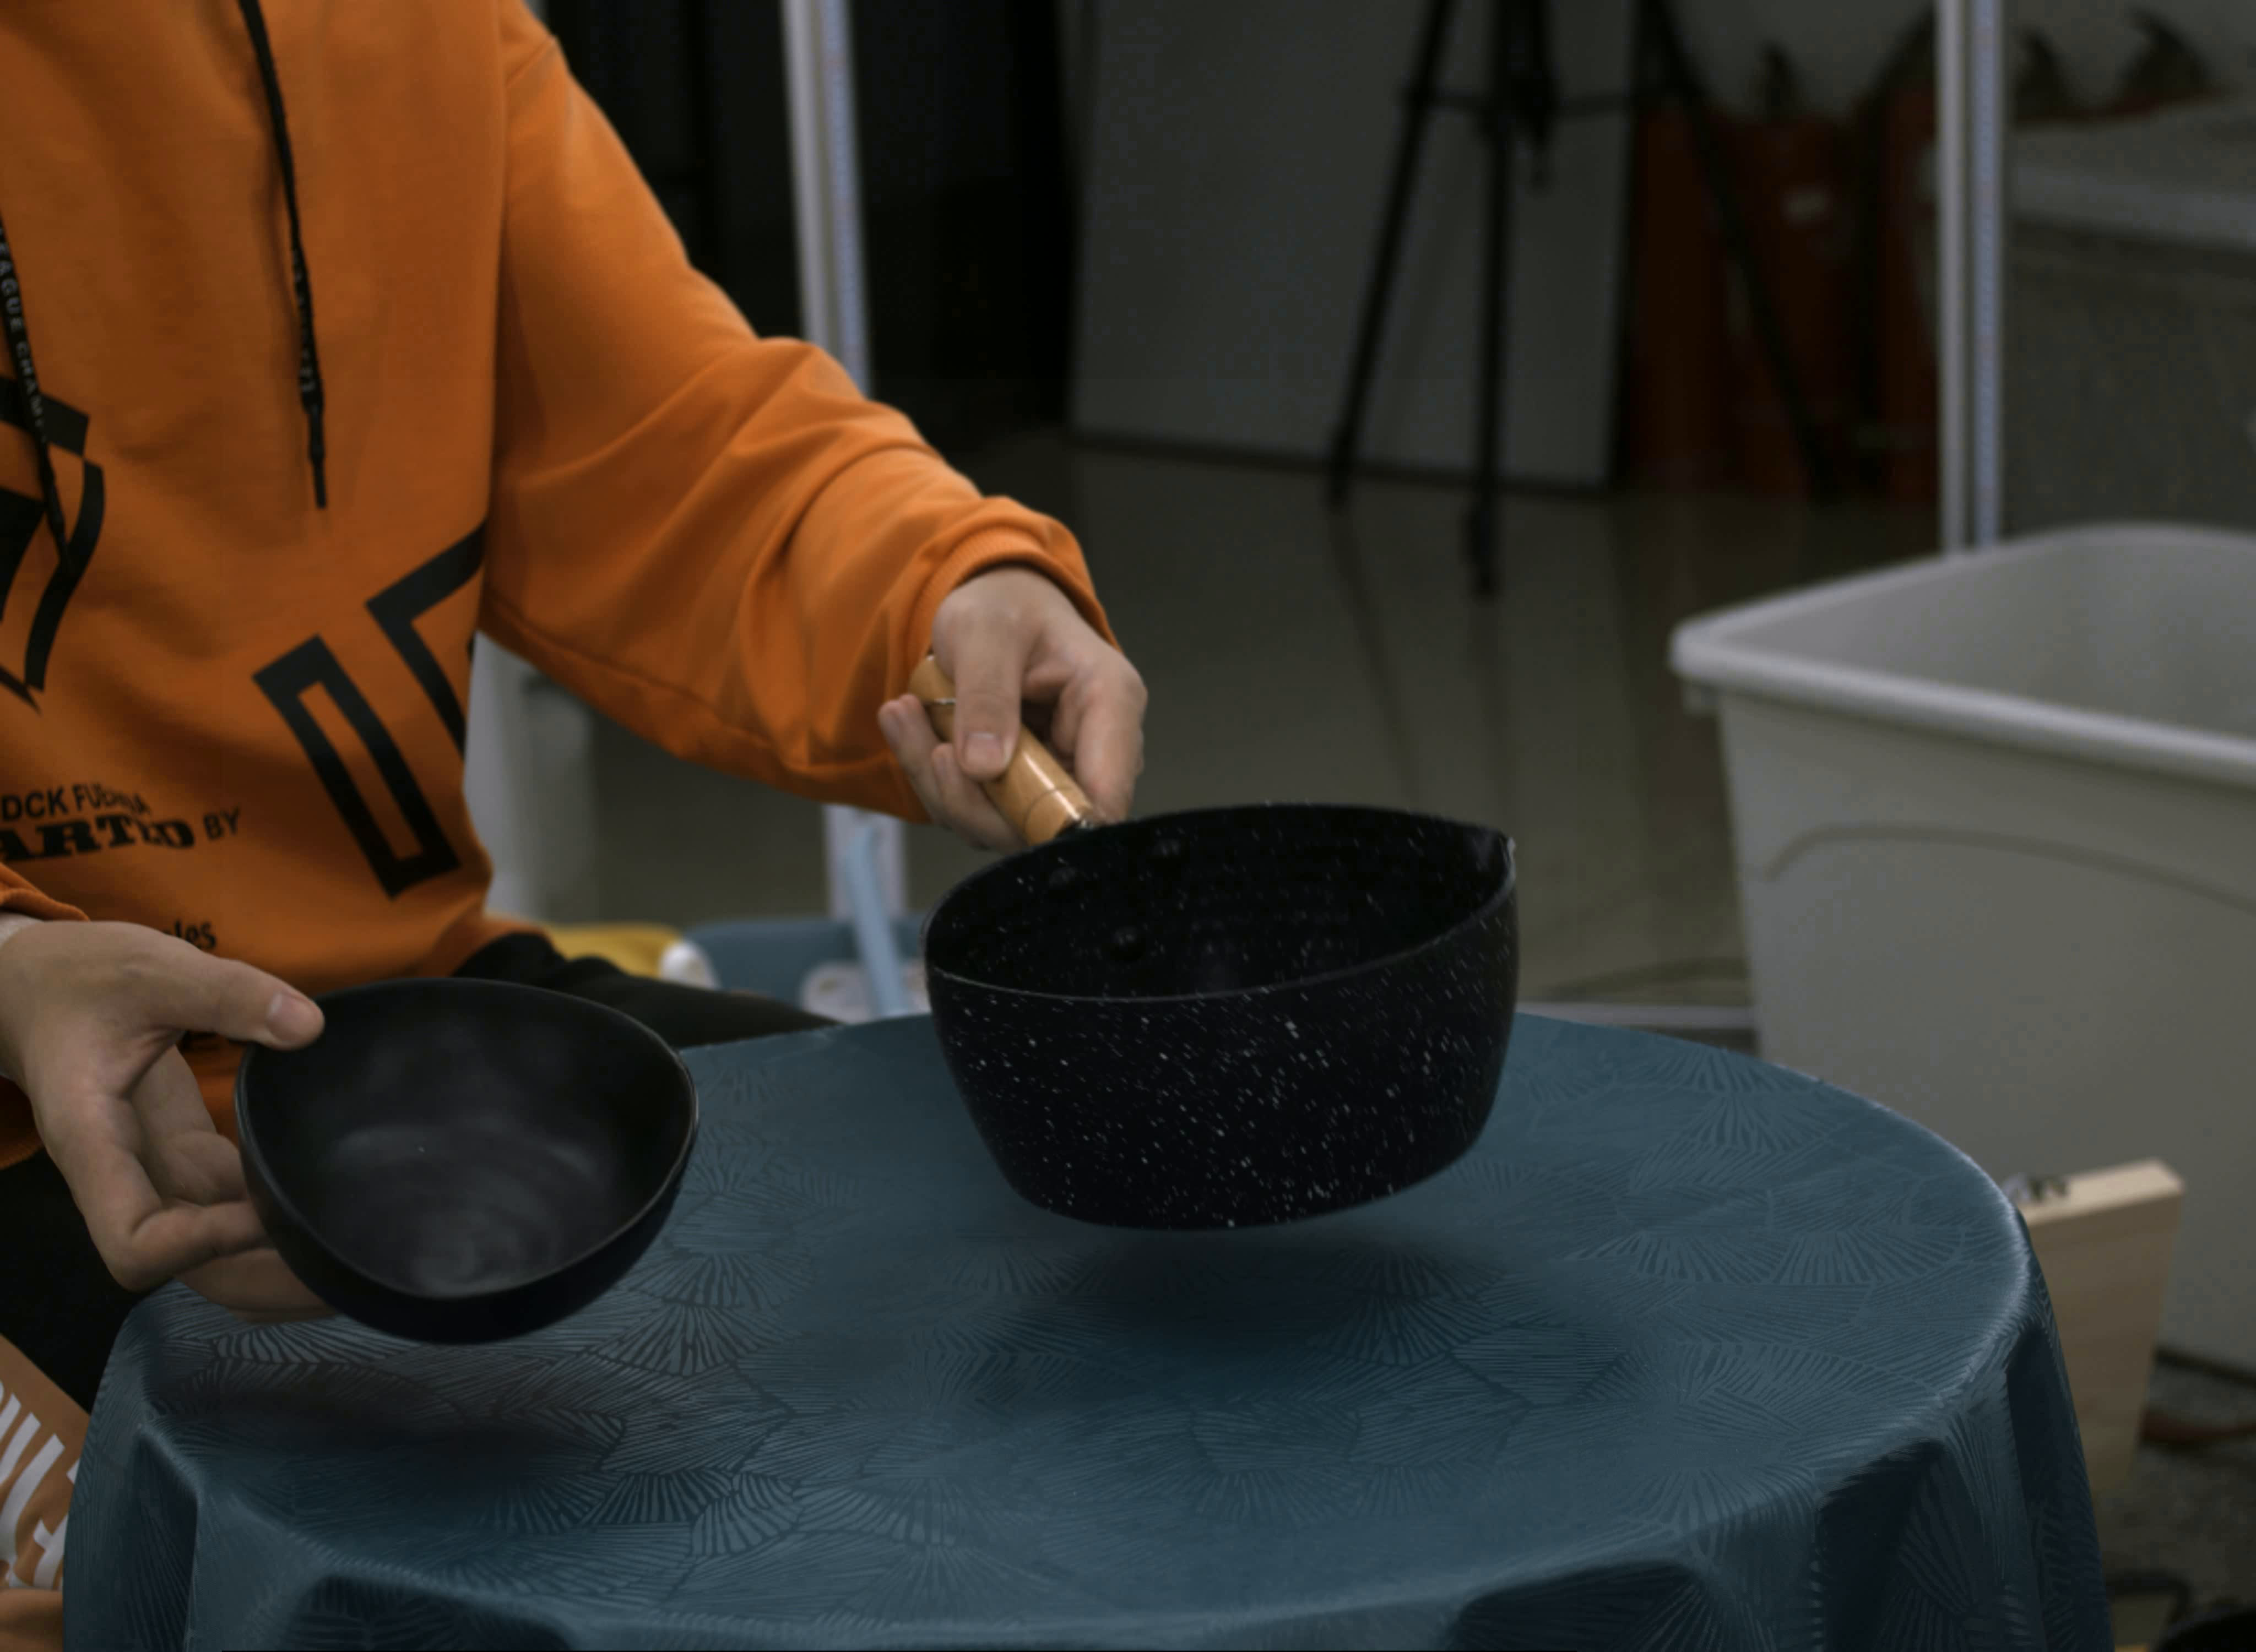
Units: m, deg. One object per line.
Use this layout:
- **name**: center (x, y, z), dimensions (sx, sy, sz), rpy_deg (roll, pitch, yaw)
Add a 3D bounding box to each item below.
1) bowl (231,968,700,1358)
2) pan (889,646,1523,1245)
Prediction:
- **bowl**: center (-0.195, 0.109, 1.589), dimensions (0.135, 0.067, 0.171), rpy_deg (3, 29, -5)
- **pan**: center (0.001, 0.031, 1.728), dimensions (0.203, 0.109, 0.346), rpy_deg (-14, 19, -19)
